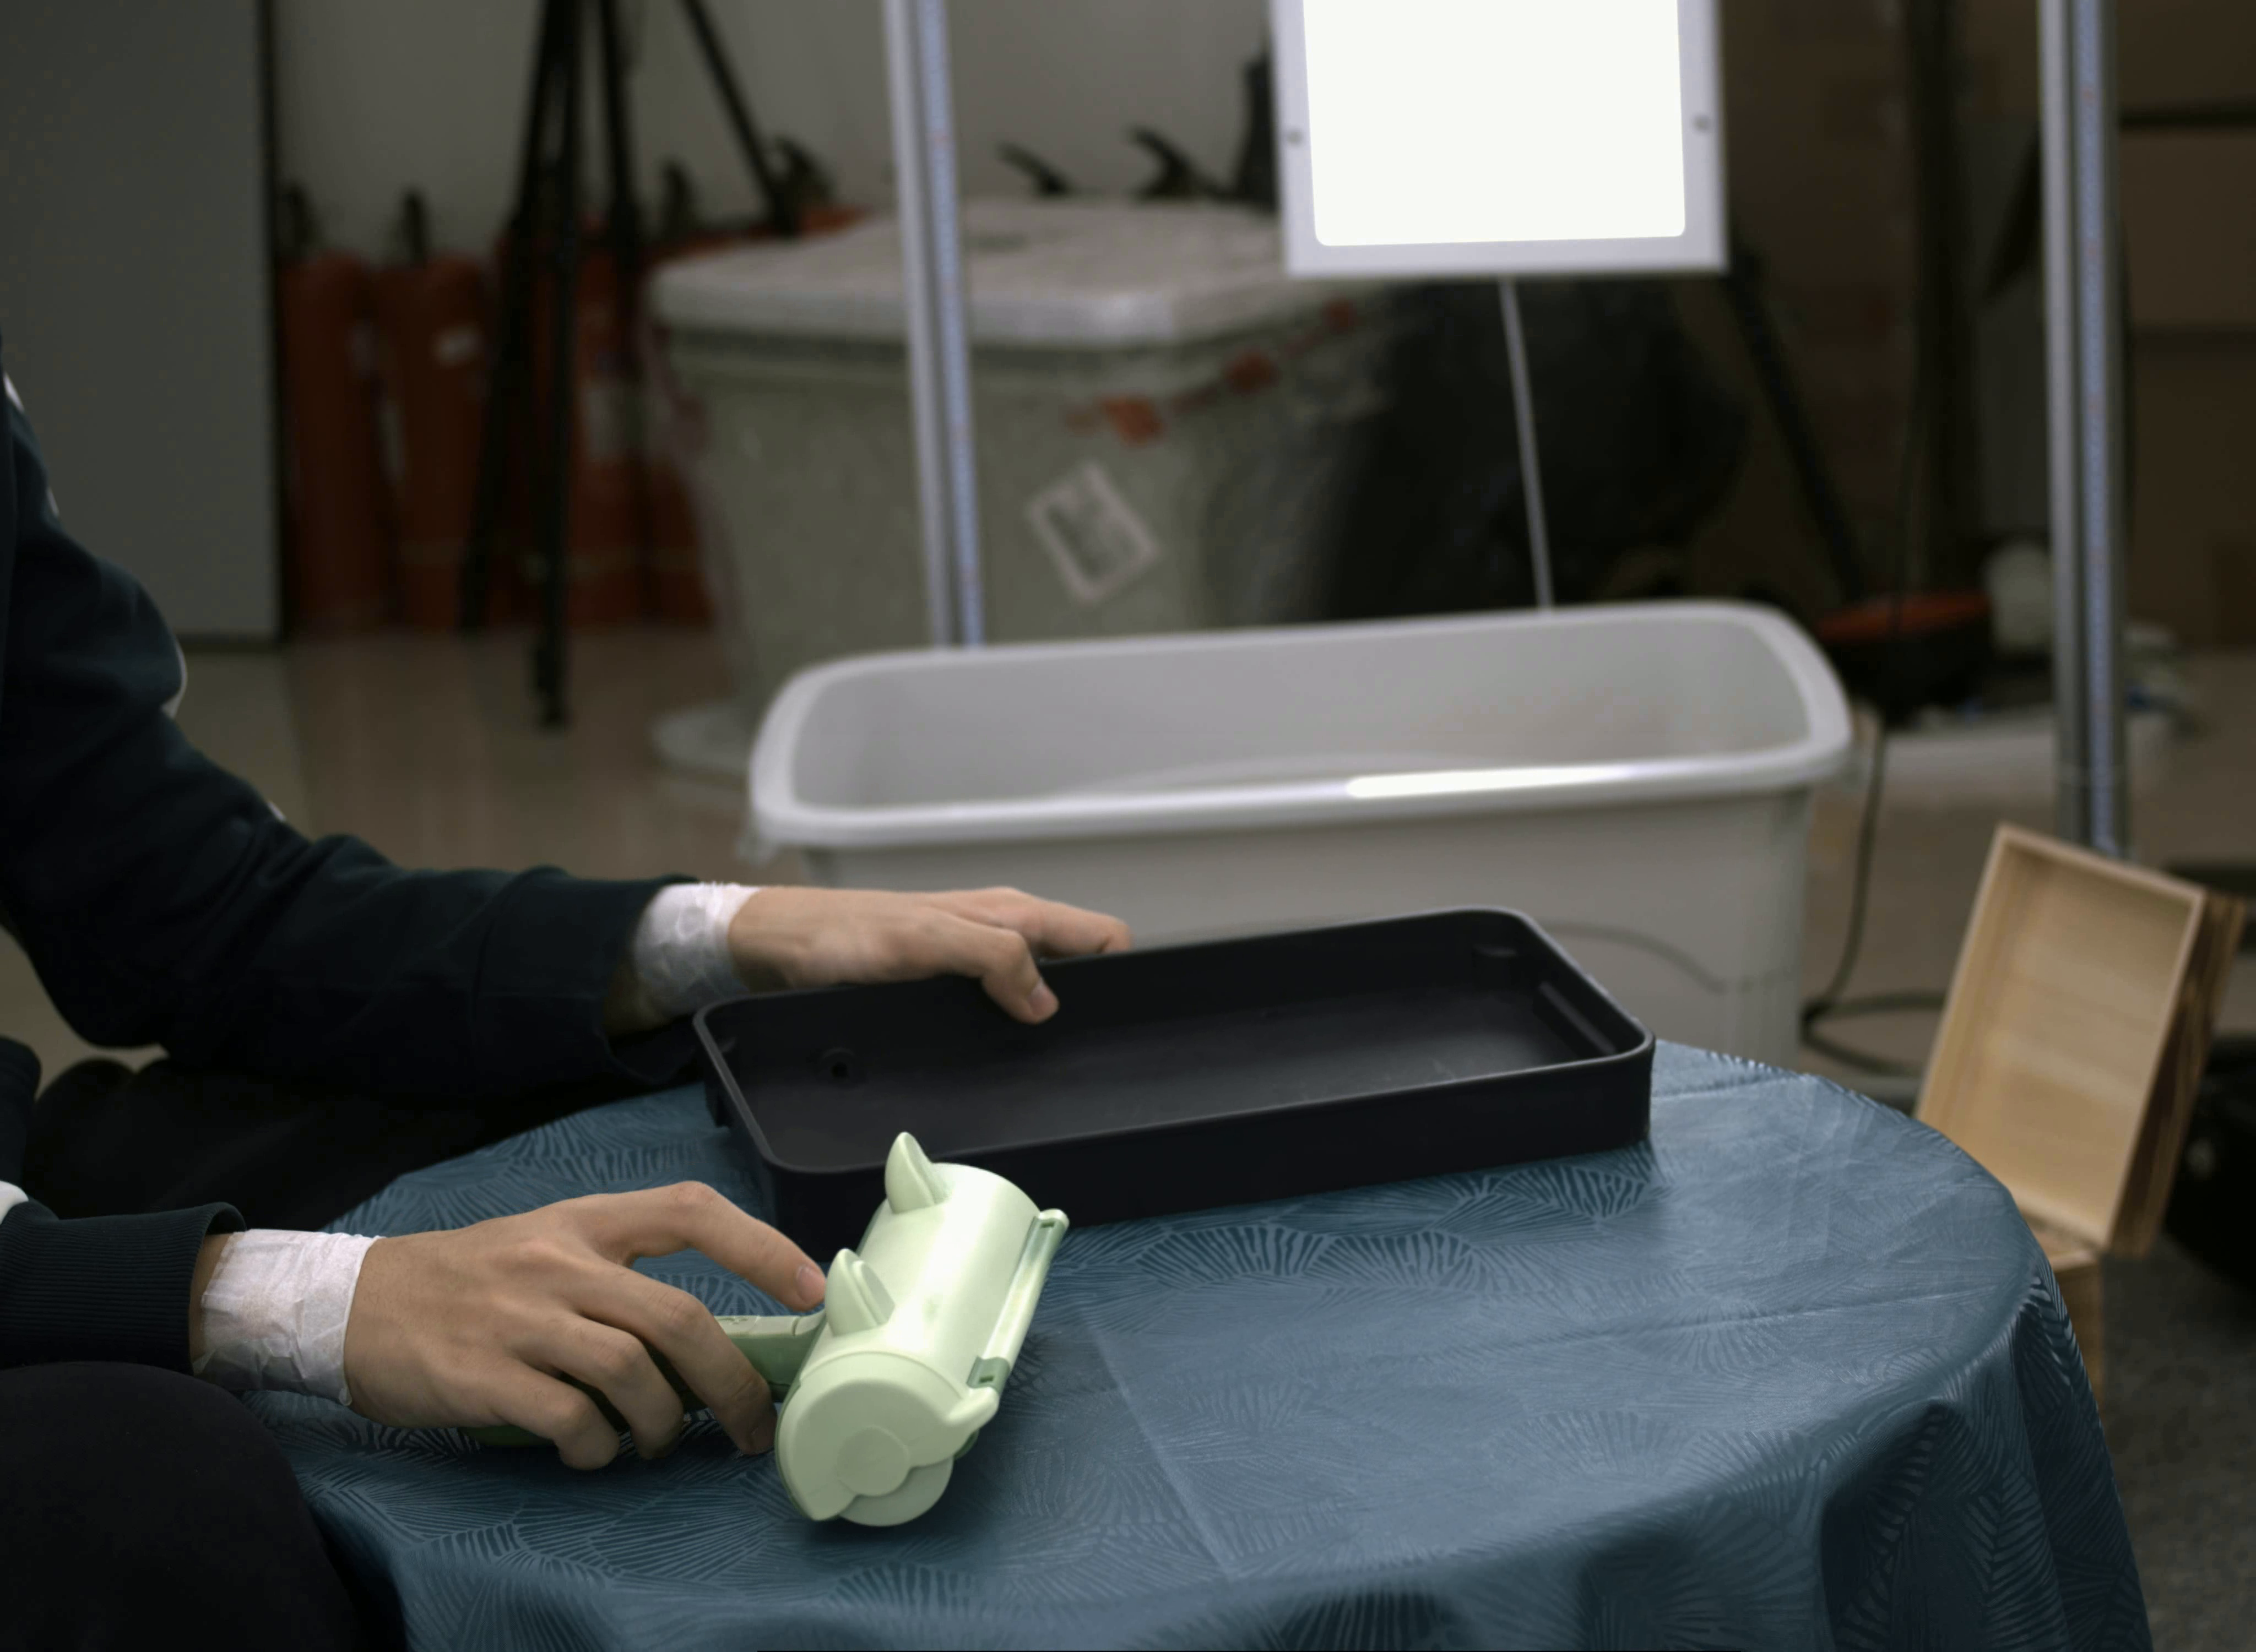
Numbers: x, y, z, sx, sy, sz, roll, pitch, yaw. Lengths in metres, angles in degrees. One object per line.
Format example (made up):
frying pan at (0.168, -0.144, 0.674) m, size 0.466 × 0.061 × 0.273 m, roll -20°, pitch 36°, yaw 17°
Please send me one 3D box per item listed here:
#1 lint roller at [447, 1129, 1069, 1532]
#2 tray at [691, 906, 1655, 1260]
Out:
lint roller at (-0.119, 0.148, 1.681) m, size 0.184 × 0.082 × 0.197 m, roll 1°, pitch 15°, yaw 8°
tray at (0.014, 0.088, 1.947) m, size 0.314 × 0.037 × 0.185 m, roll -7°, pitch 18°, yaw -10°
